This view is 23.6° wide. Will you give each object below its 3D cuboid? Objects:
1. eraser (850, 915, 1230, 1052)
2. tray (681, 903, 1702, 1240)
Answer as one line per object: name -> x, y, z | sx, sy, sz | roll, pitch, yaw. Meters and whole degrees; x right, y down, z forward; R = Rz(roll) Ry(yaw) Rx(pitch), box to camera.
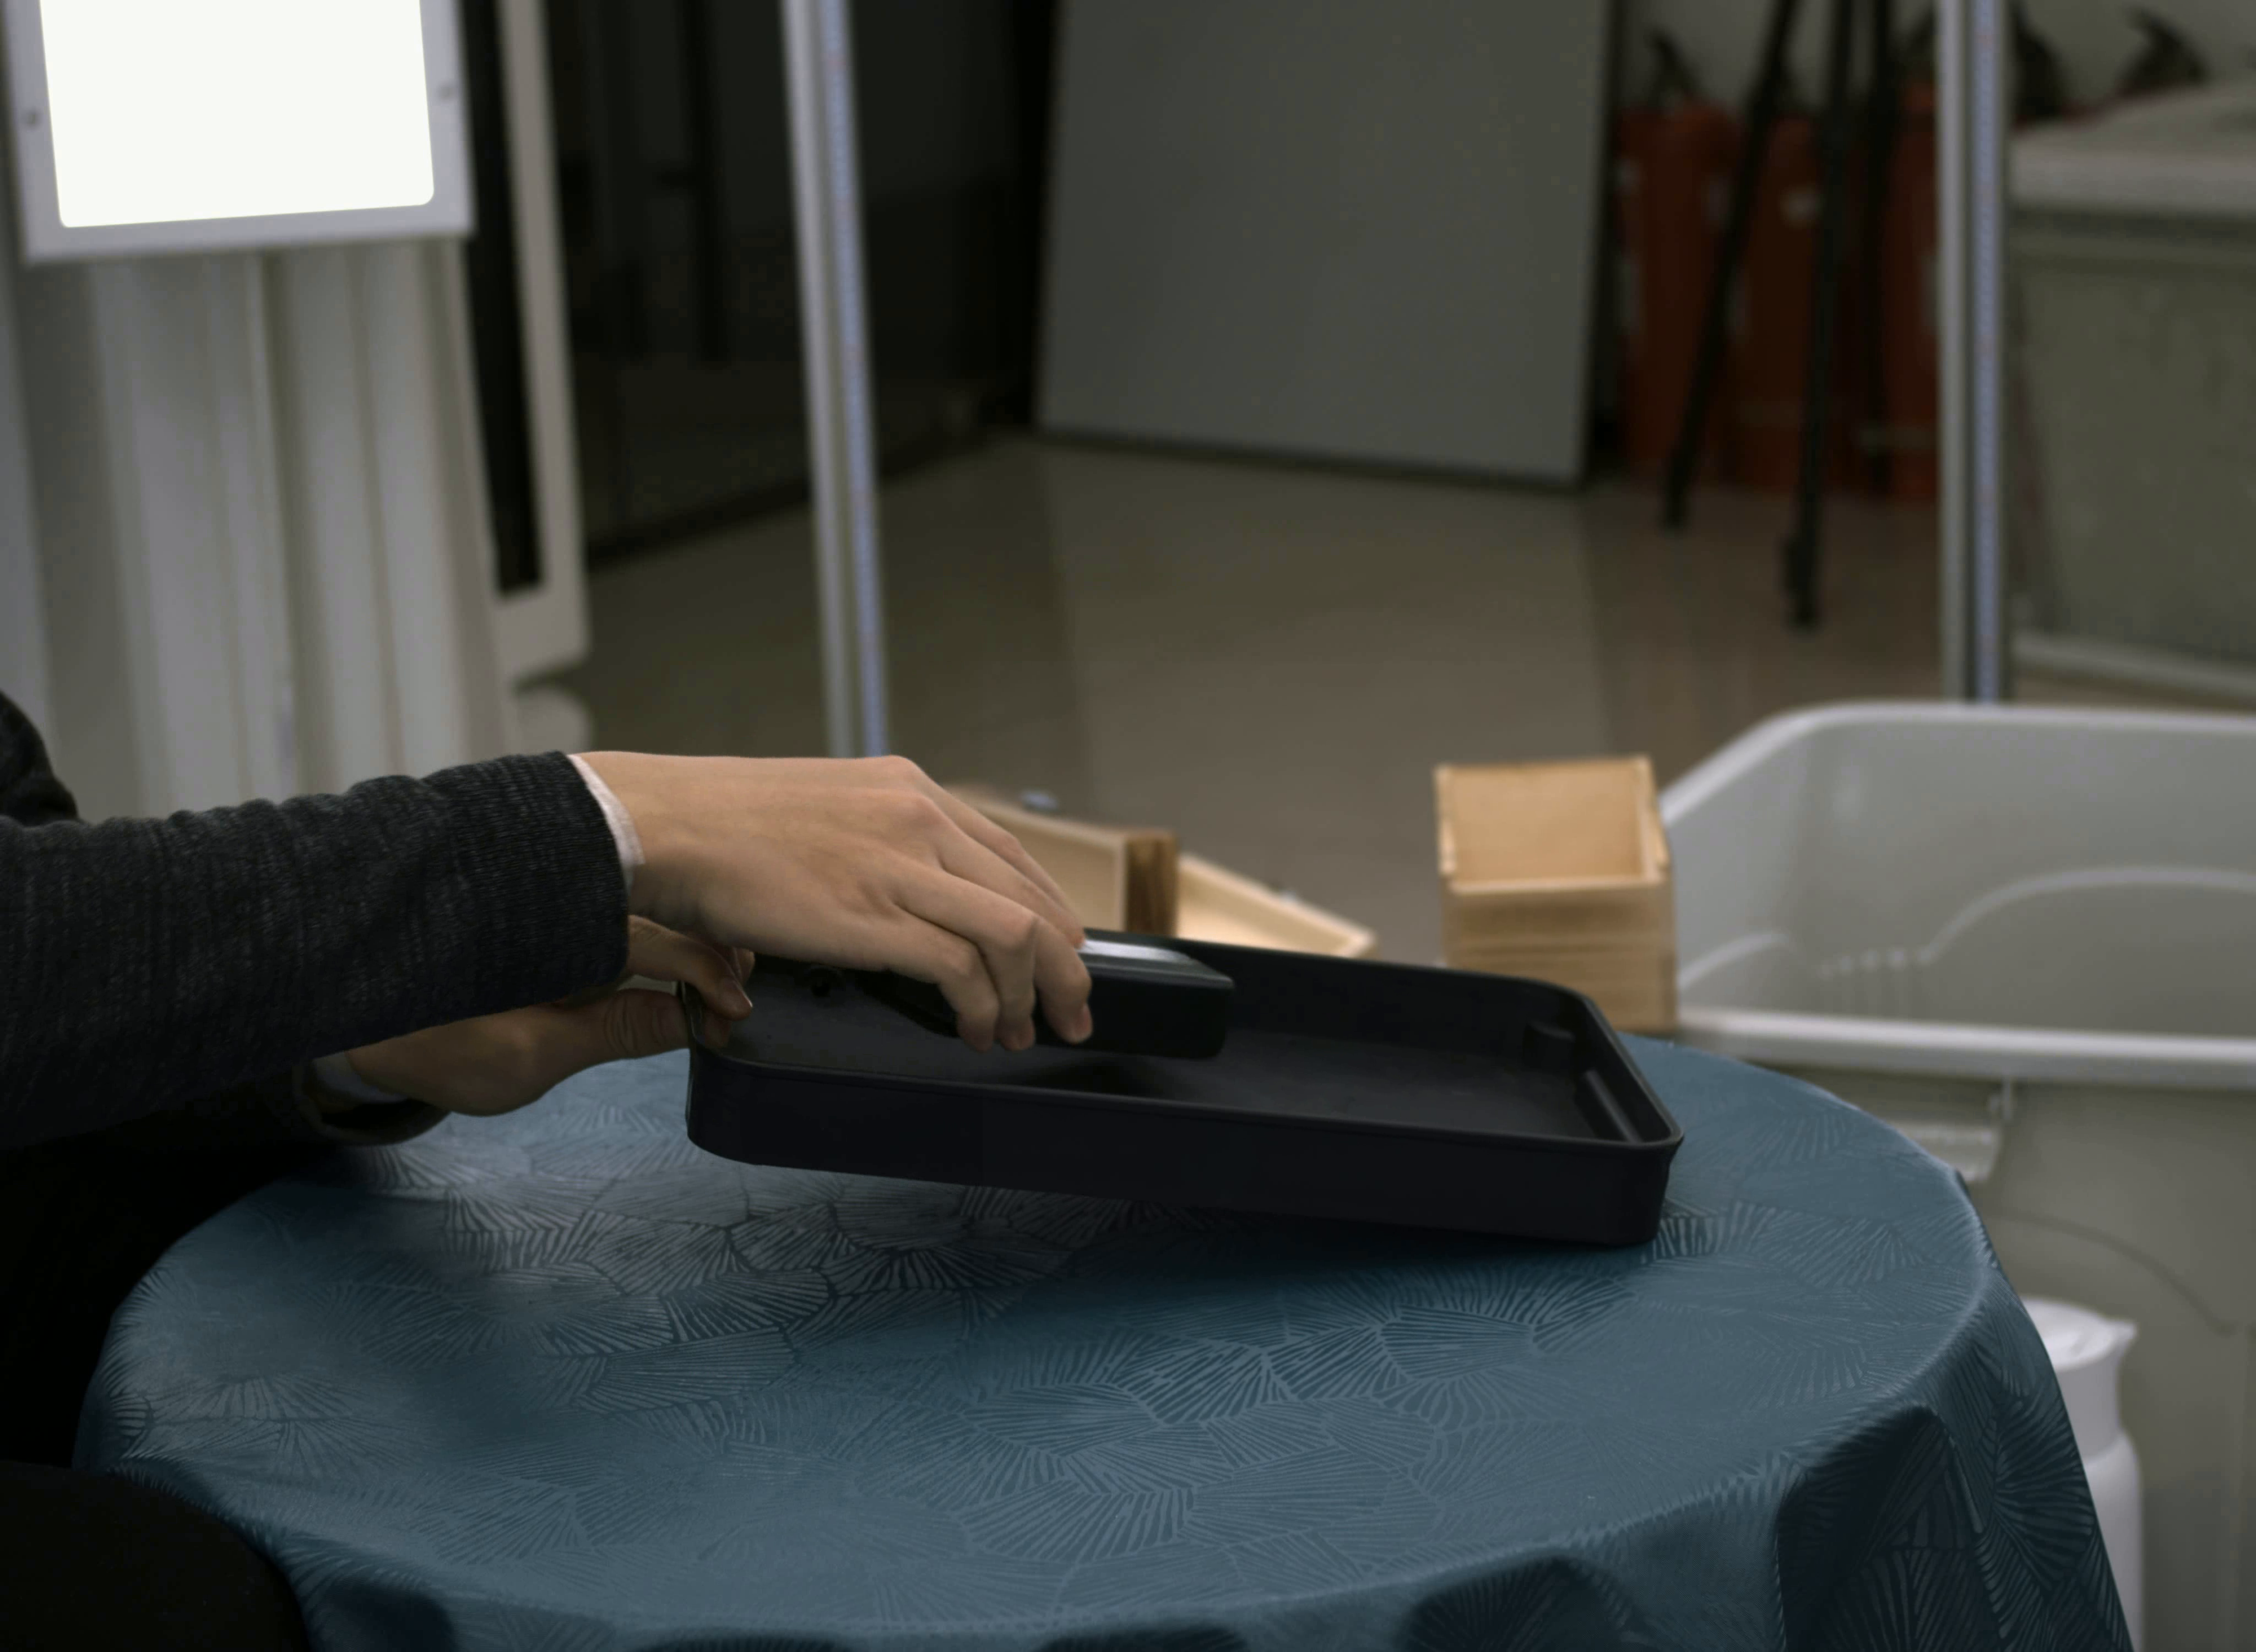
eraser -> -0.028, 0.051, 1.734 | 0.123, 0.031, 0.054 | 6, 10, -44
tray -> 0.015, 0.078, 1.741 | 0.312, 0.037, 0.185 | 5, 14, -9
